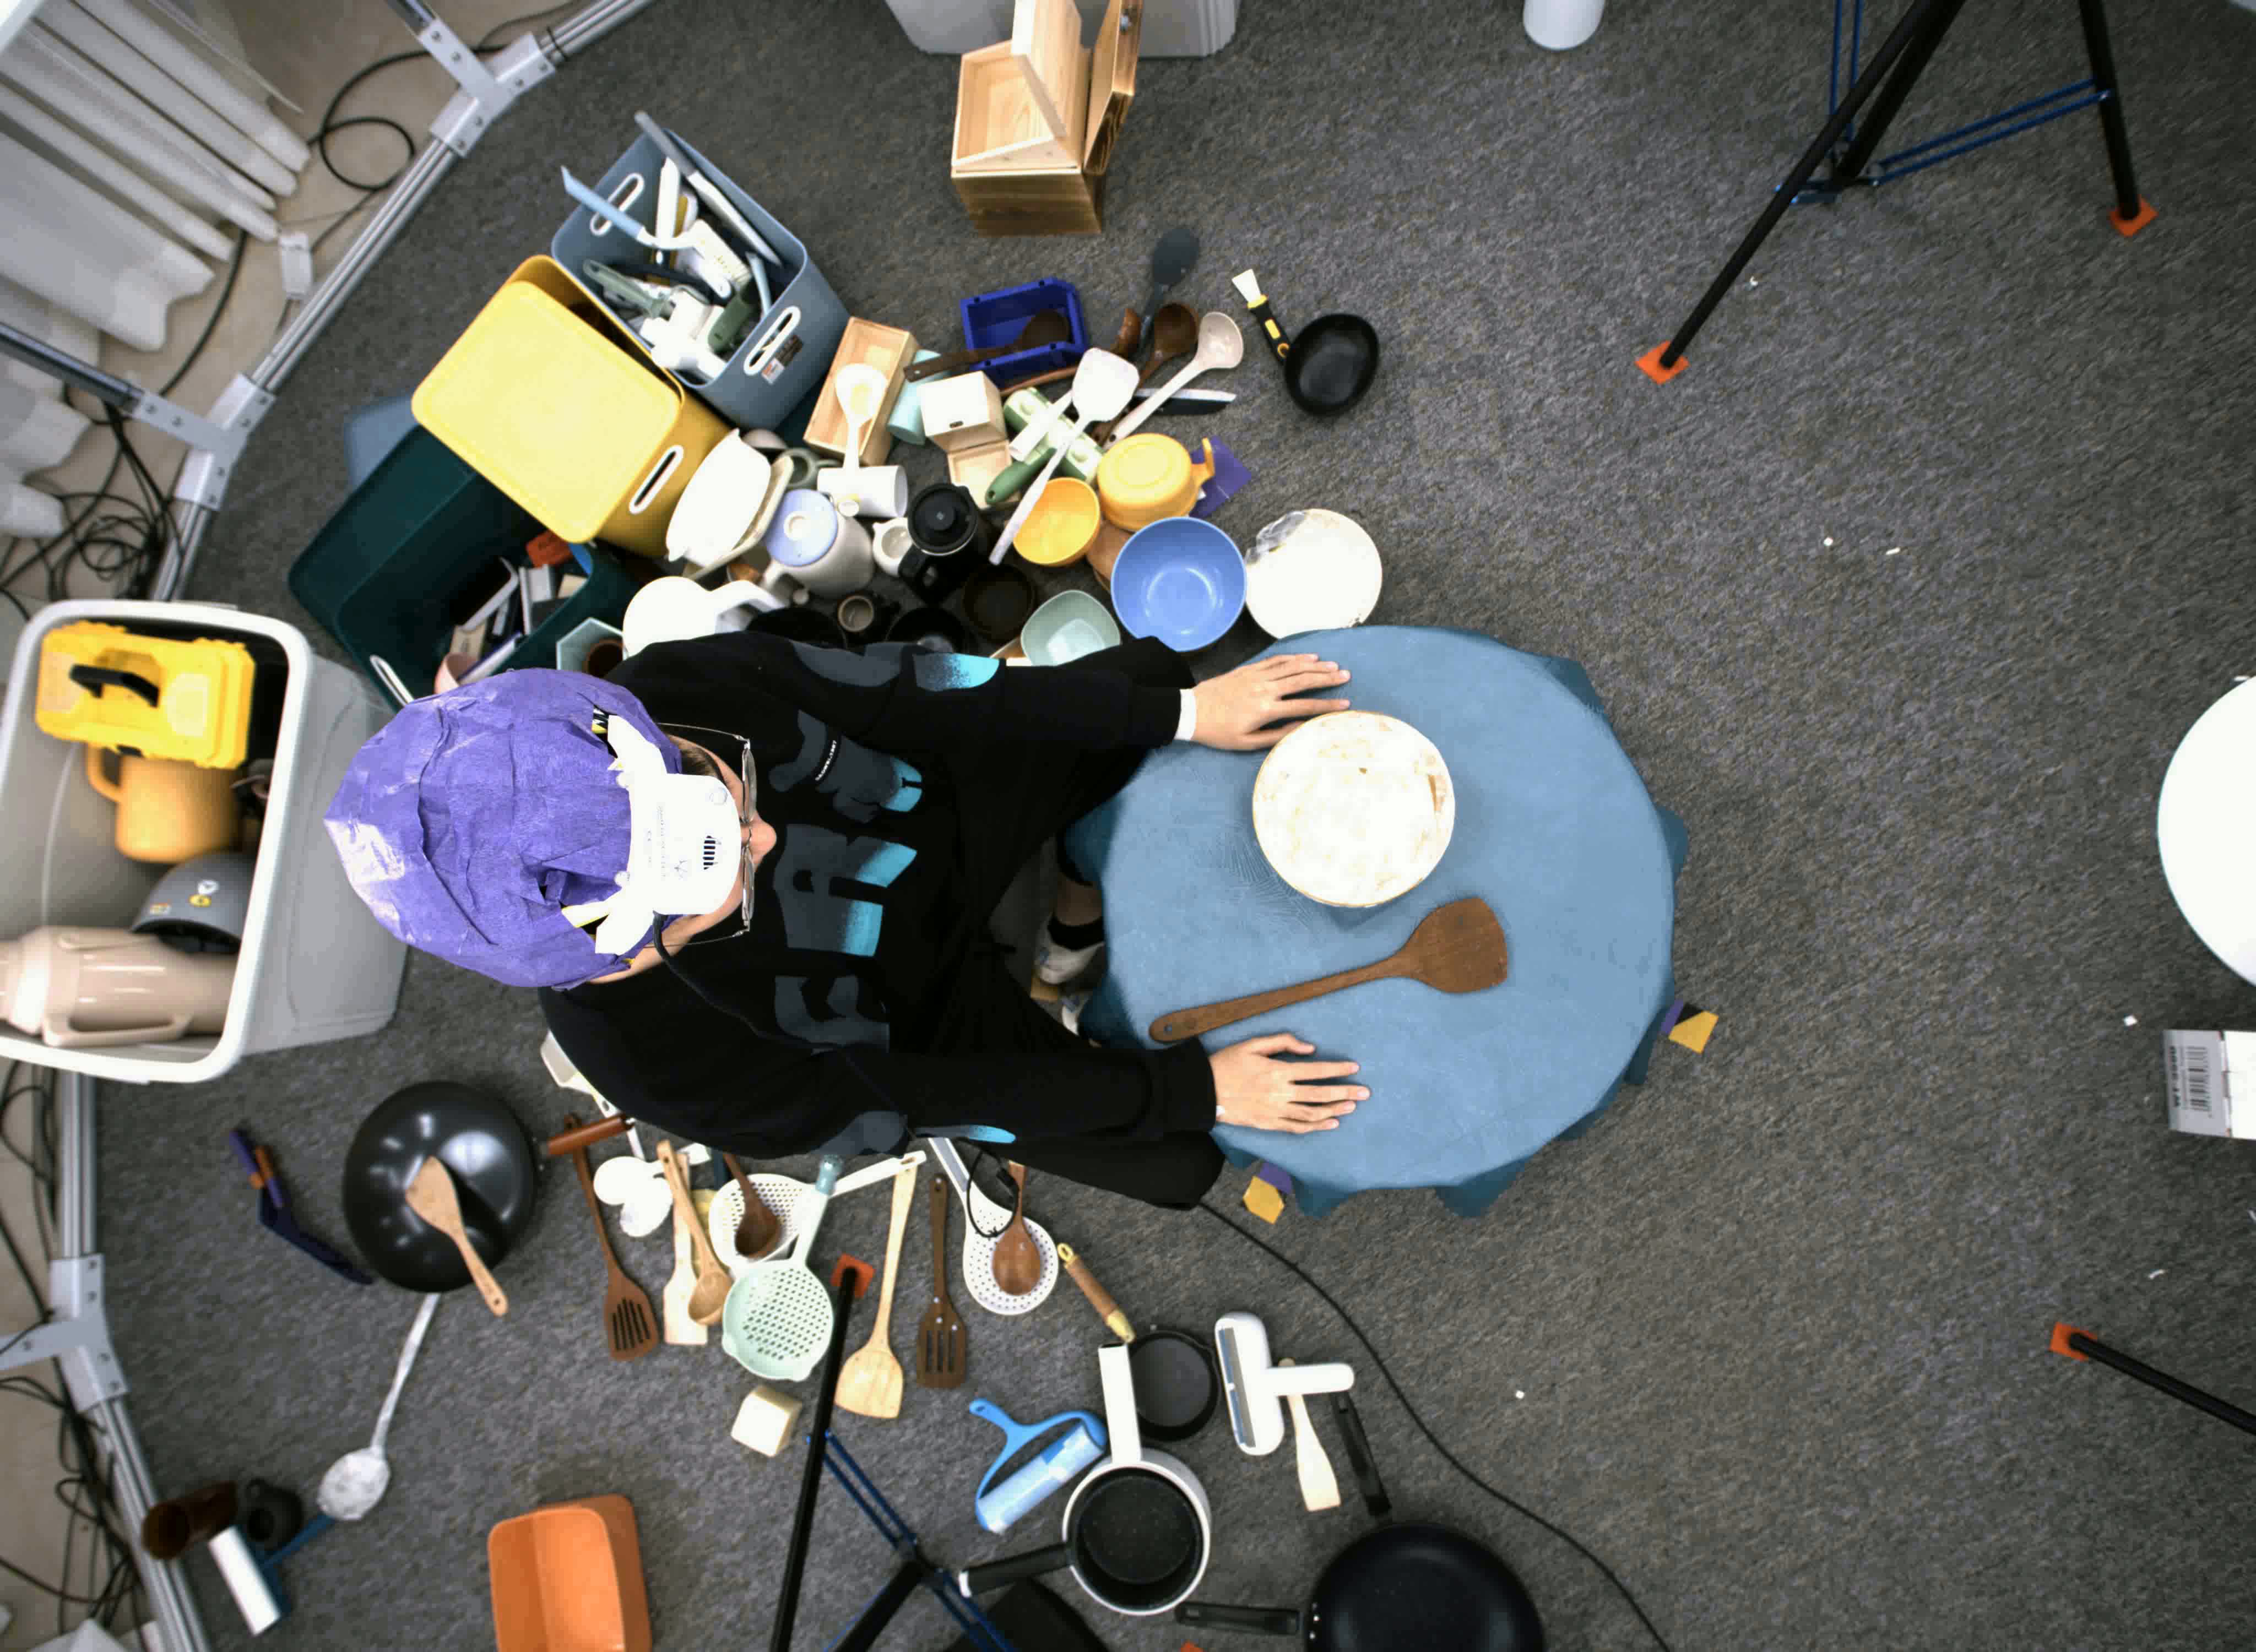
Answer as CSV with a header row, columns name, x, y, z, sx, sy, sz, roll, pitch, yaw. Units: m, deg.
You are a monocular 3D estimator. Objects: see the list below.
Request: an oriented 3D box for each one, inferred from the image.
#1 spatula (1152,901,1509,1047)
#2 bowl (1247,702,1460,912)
name,x,y,z,sx,sy,sz,roll,pitch,yaw
spatula,0.209,0.171,1.462,0.388,0.016,0.095,-17,83,9
bowl,0.233,-0.015,1.430,0.215,0.094,0.214,-1,87,11
